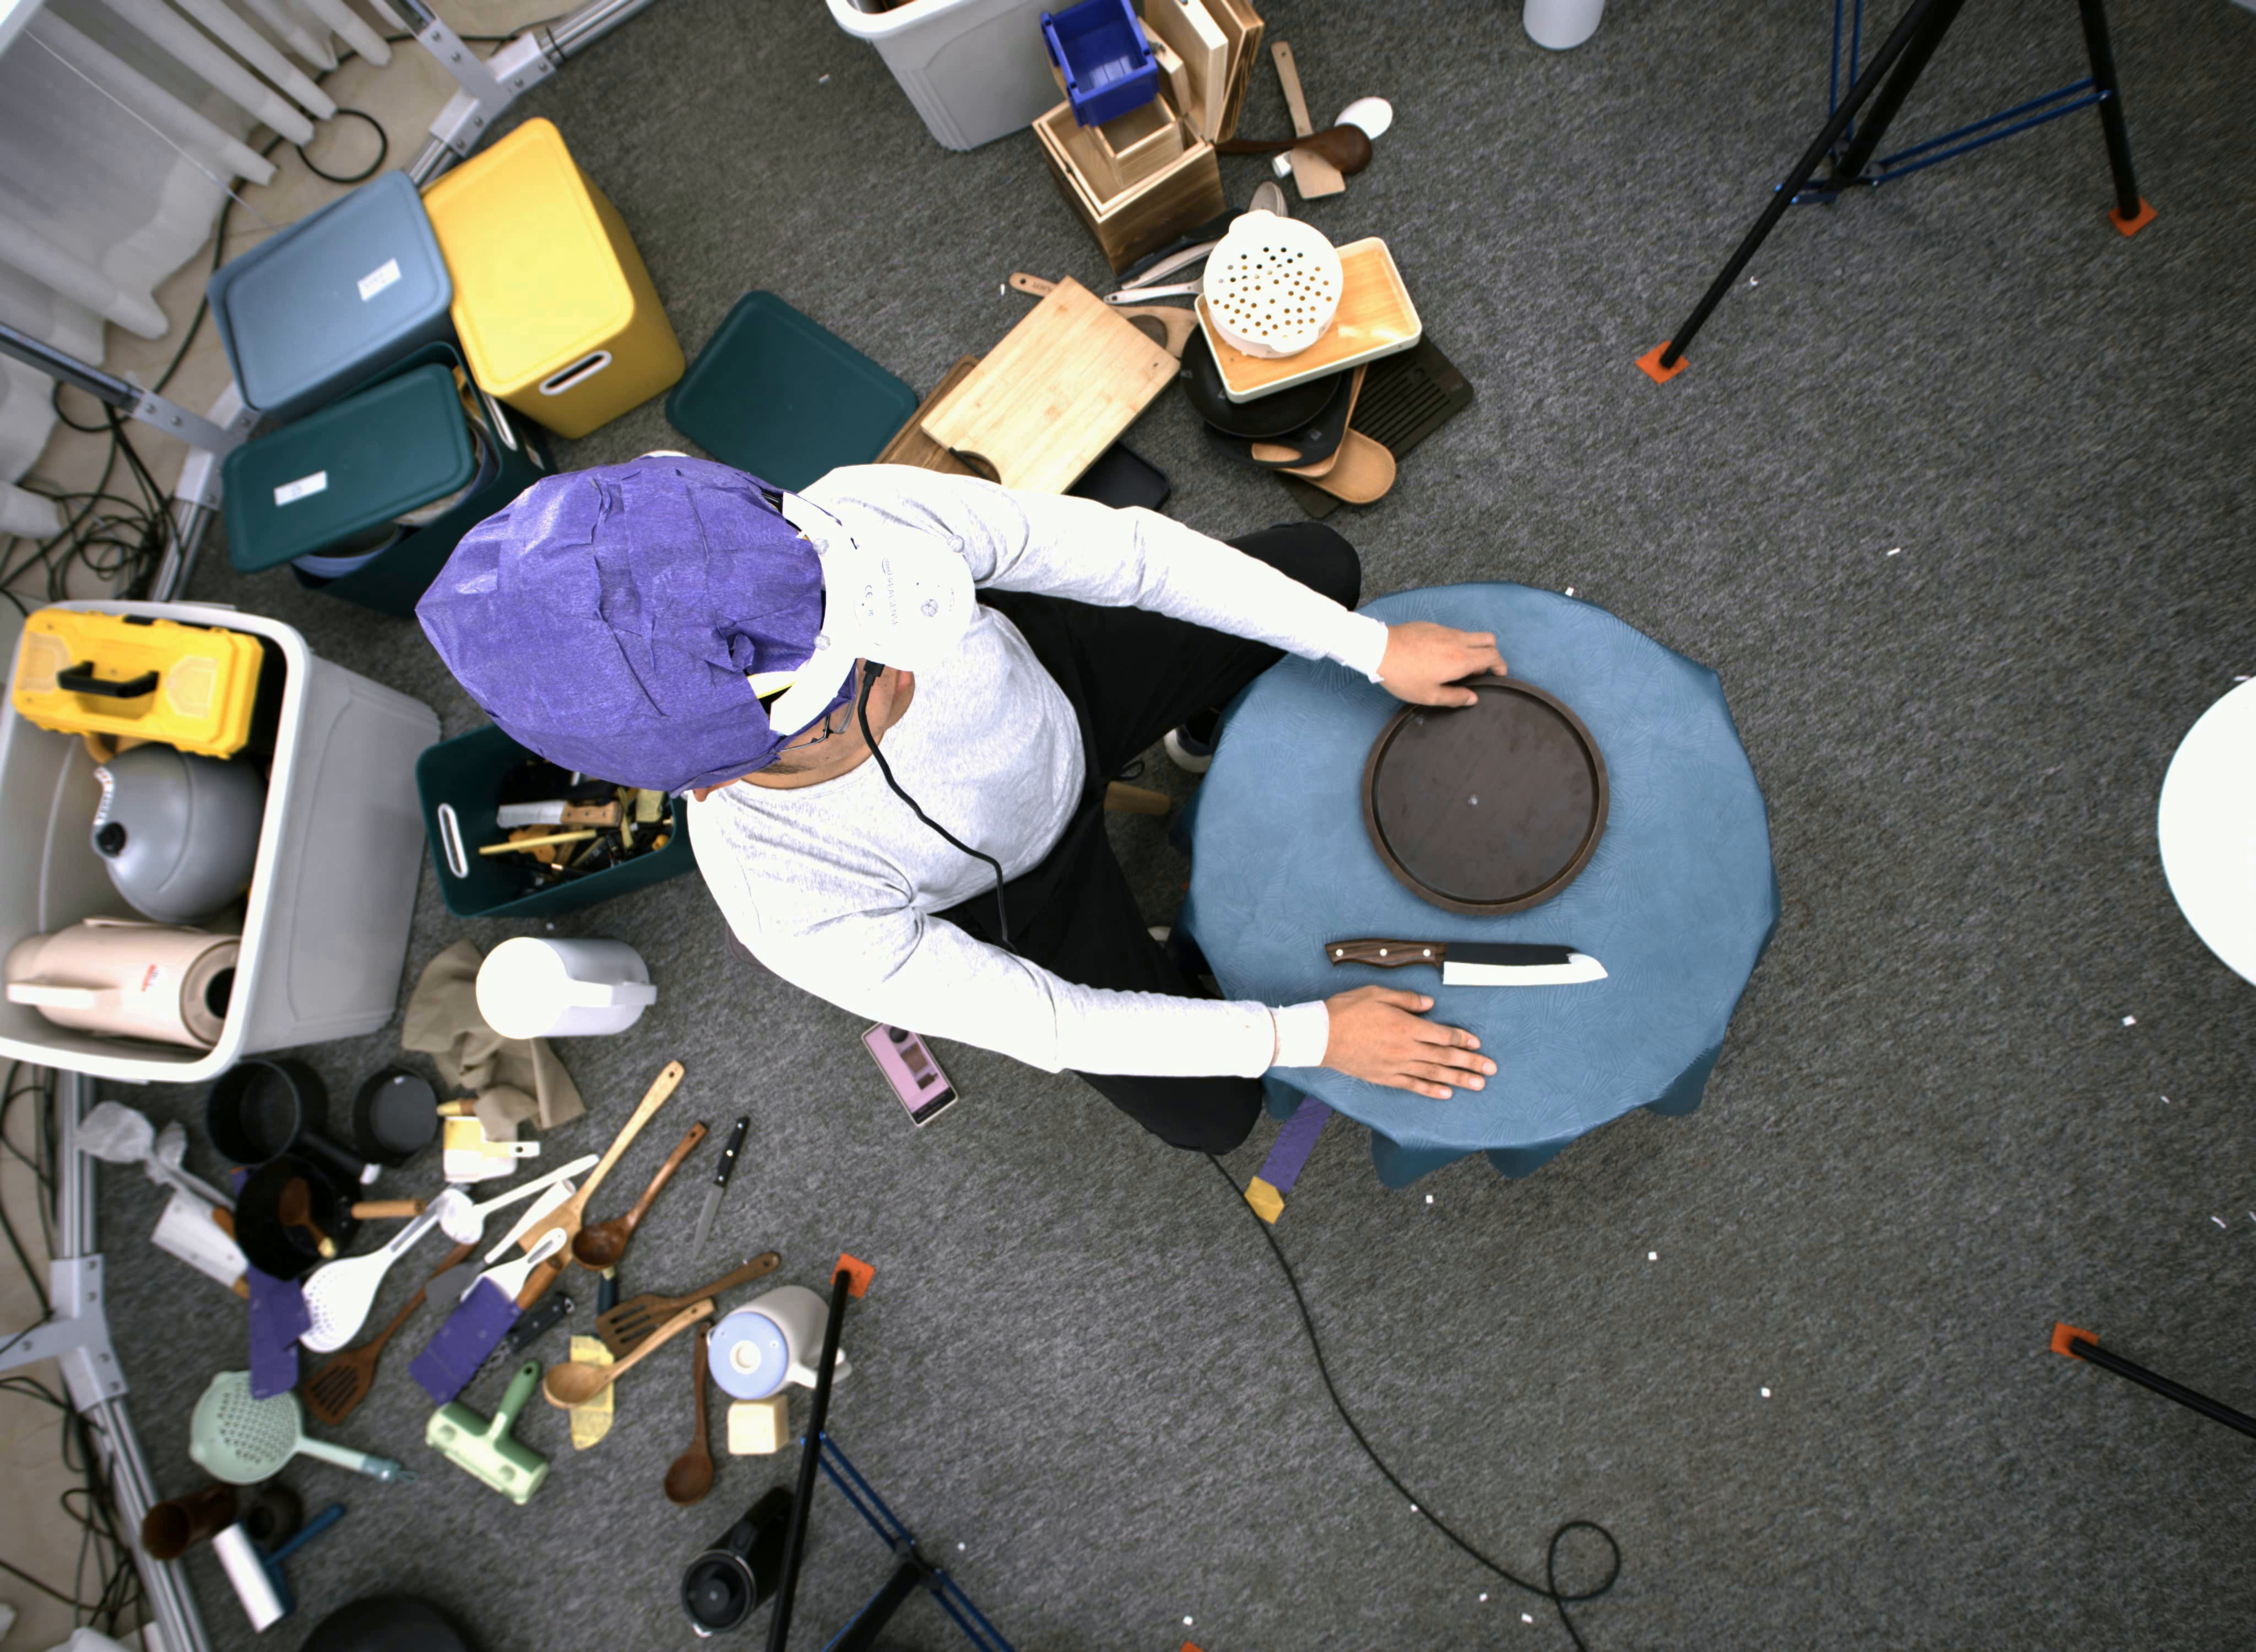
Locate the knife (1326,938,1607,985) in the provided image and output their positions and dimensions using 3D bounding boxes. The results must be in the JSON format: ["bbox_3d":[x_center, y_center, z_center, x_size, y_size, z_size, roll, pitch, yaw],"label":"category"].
[{"bbox_3d":[0.351,0.138,1.434,0.290,0.020,0.050,3,92,8],"label":"knife"}]

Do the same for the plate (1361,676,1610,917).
[{"bbox_3d":[0.371,-0.033,1.434,0.256,0.029,0.254,-1,88,12],"label":"plate"}]
